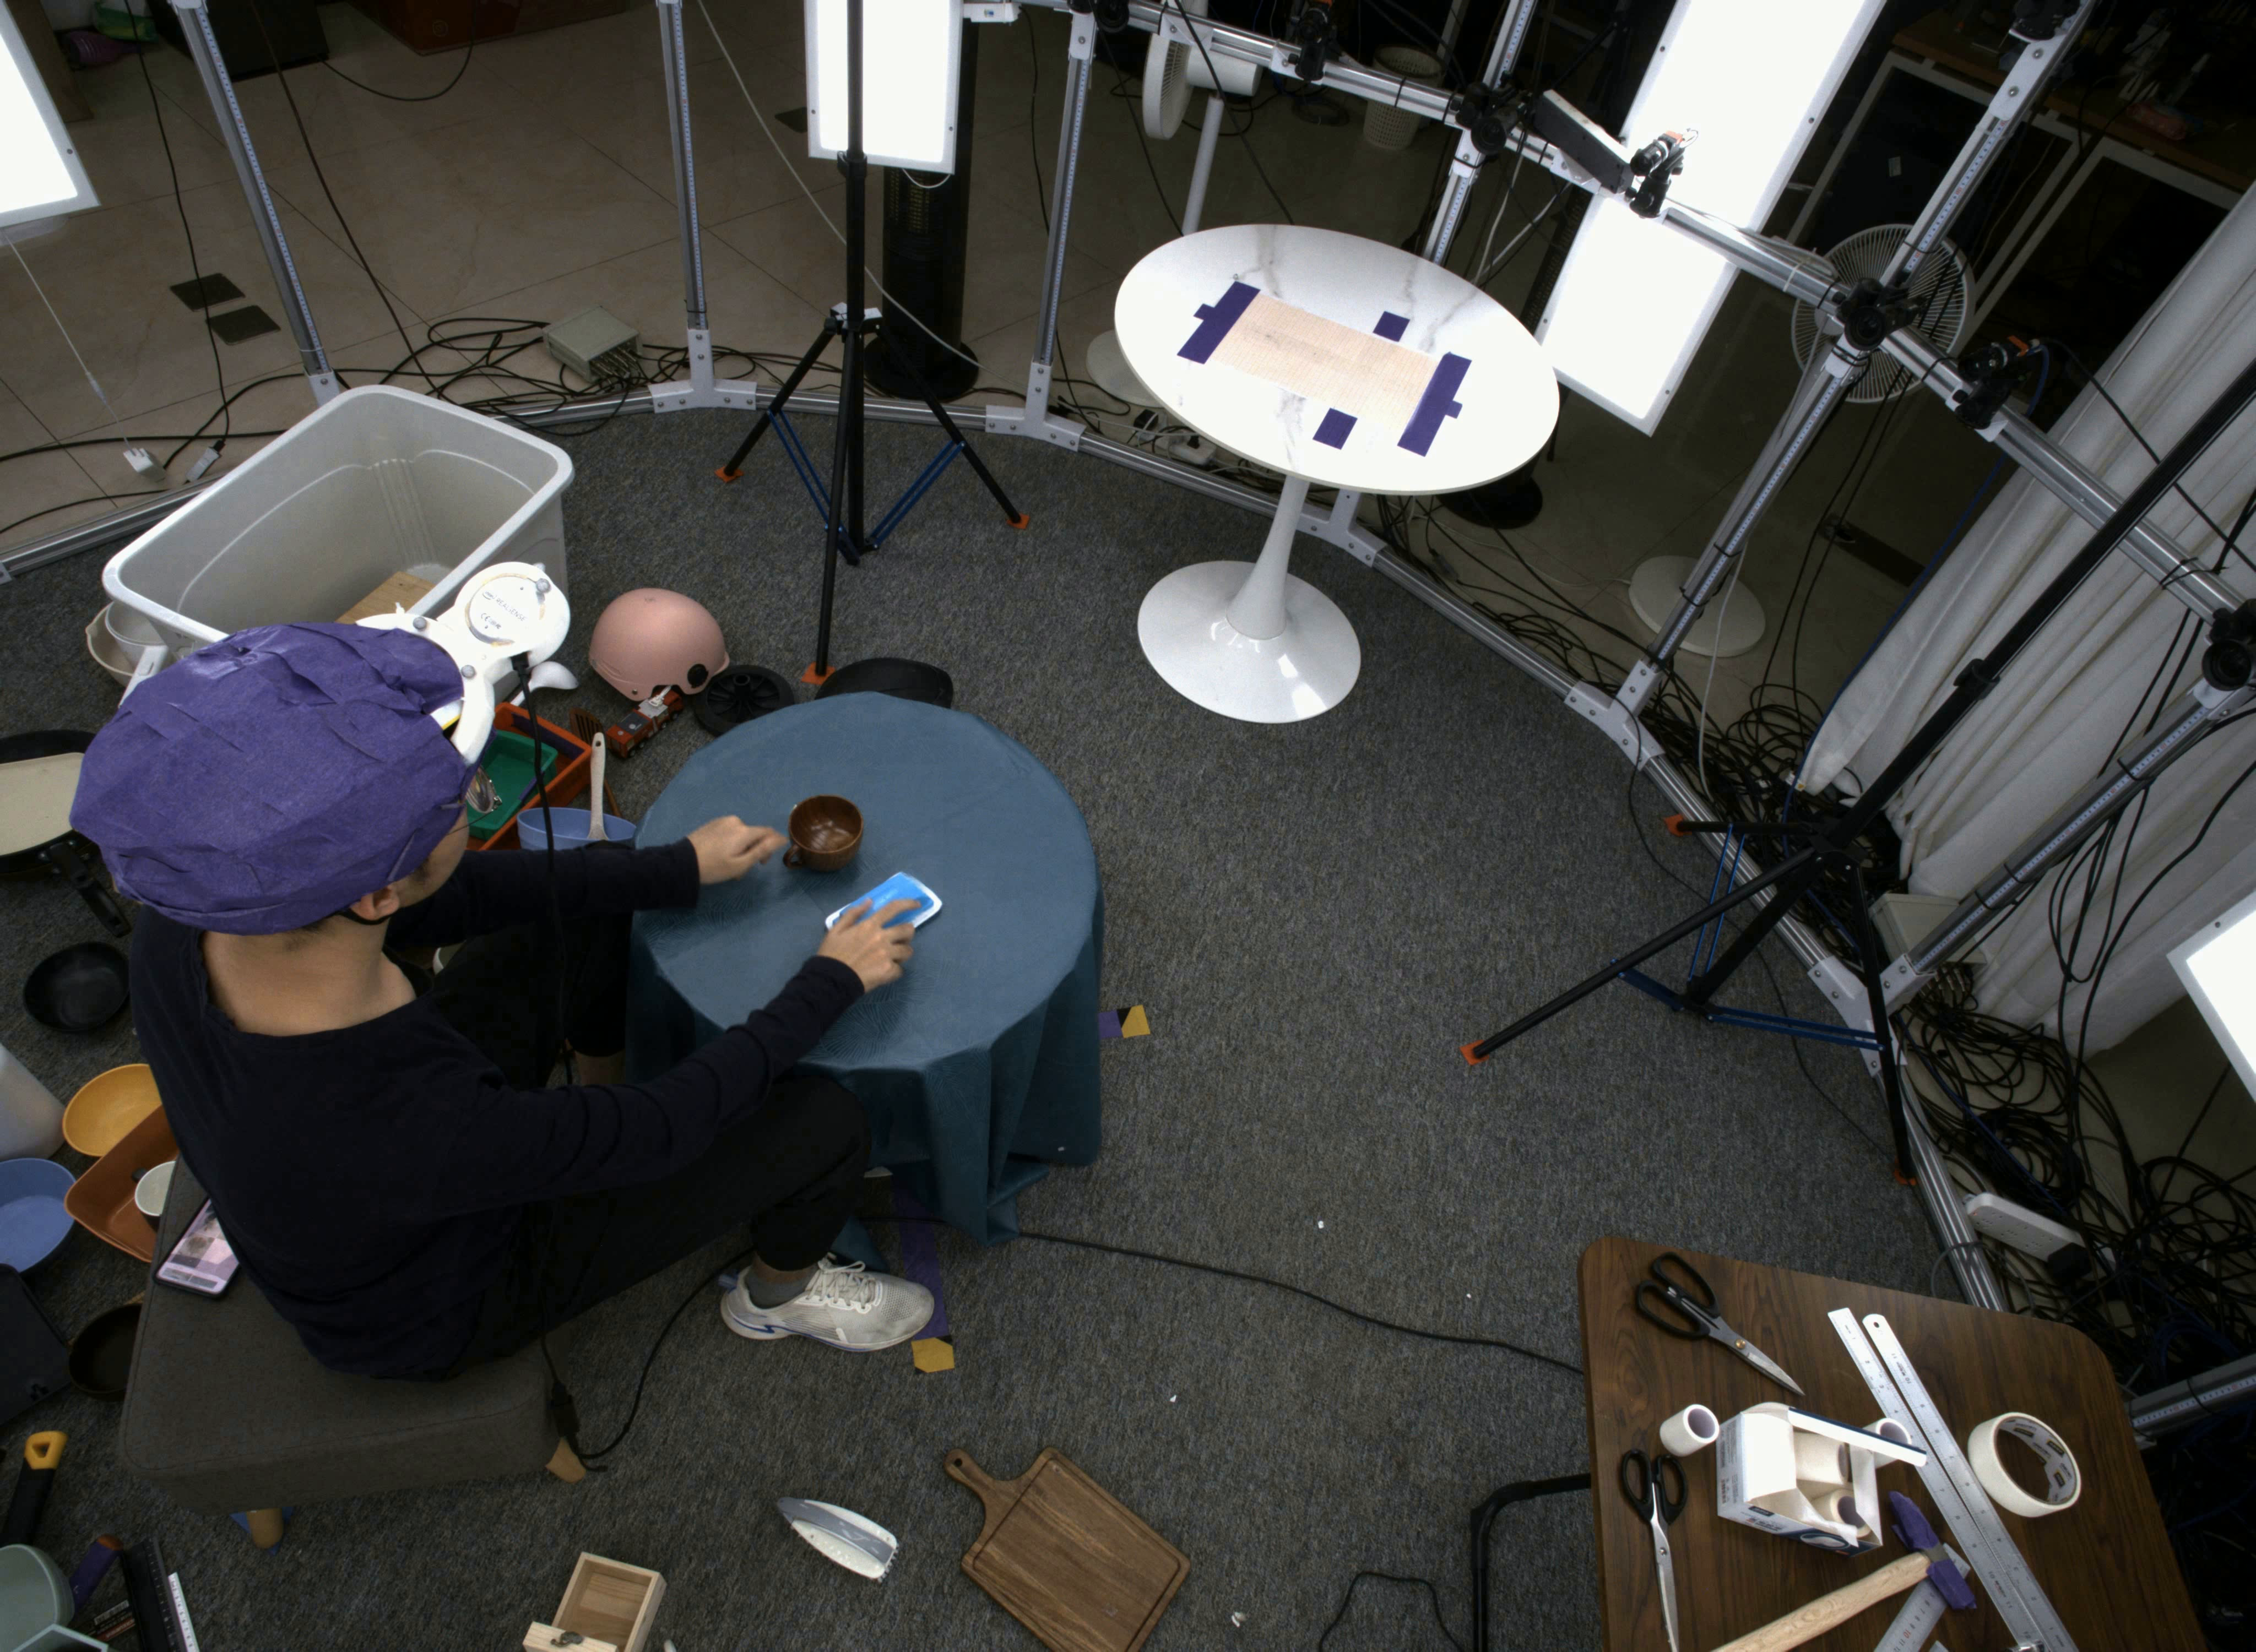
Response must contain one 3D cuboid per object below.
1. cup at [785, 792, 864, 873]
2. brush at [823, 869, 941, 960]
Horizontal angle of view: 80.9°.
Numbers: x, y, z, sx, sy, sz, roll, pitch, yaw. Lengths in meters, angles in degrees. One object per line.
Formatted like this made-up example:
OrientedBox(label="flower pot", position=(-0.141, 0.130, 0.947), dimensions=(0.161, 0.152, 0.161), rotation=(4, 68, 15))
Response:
OrientedBox(label="cup", position=(-0.399, 0.020, 1.675), dimensions=(0.094, 0.069, 0.119), rotation=(37, 57, 11))
OrientedBox(label="brush", position=(-0.310, 0.103, 1.638), dimensions=(0.144, 0.057, 0.081), rotation=(-32, 62, -34))
